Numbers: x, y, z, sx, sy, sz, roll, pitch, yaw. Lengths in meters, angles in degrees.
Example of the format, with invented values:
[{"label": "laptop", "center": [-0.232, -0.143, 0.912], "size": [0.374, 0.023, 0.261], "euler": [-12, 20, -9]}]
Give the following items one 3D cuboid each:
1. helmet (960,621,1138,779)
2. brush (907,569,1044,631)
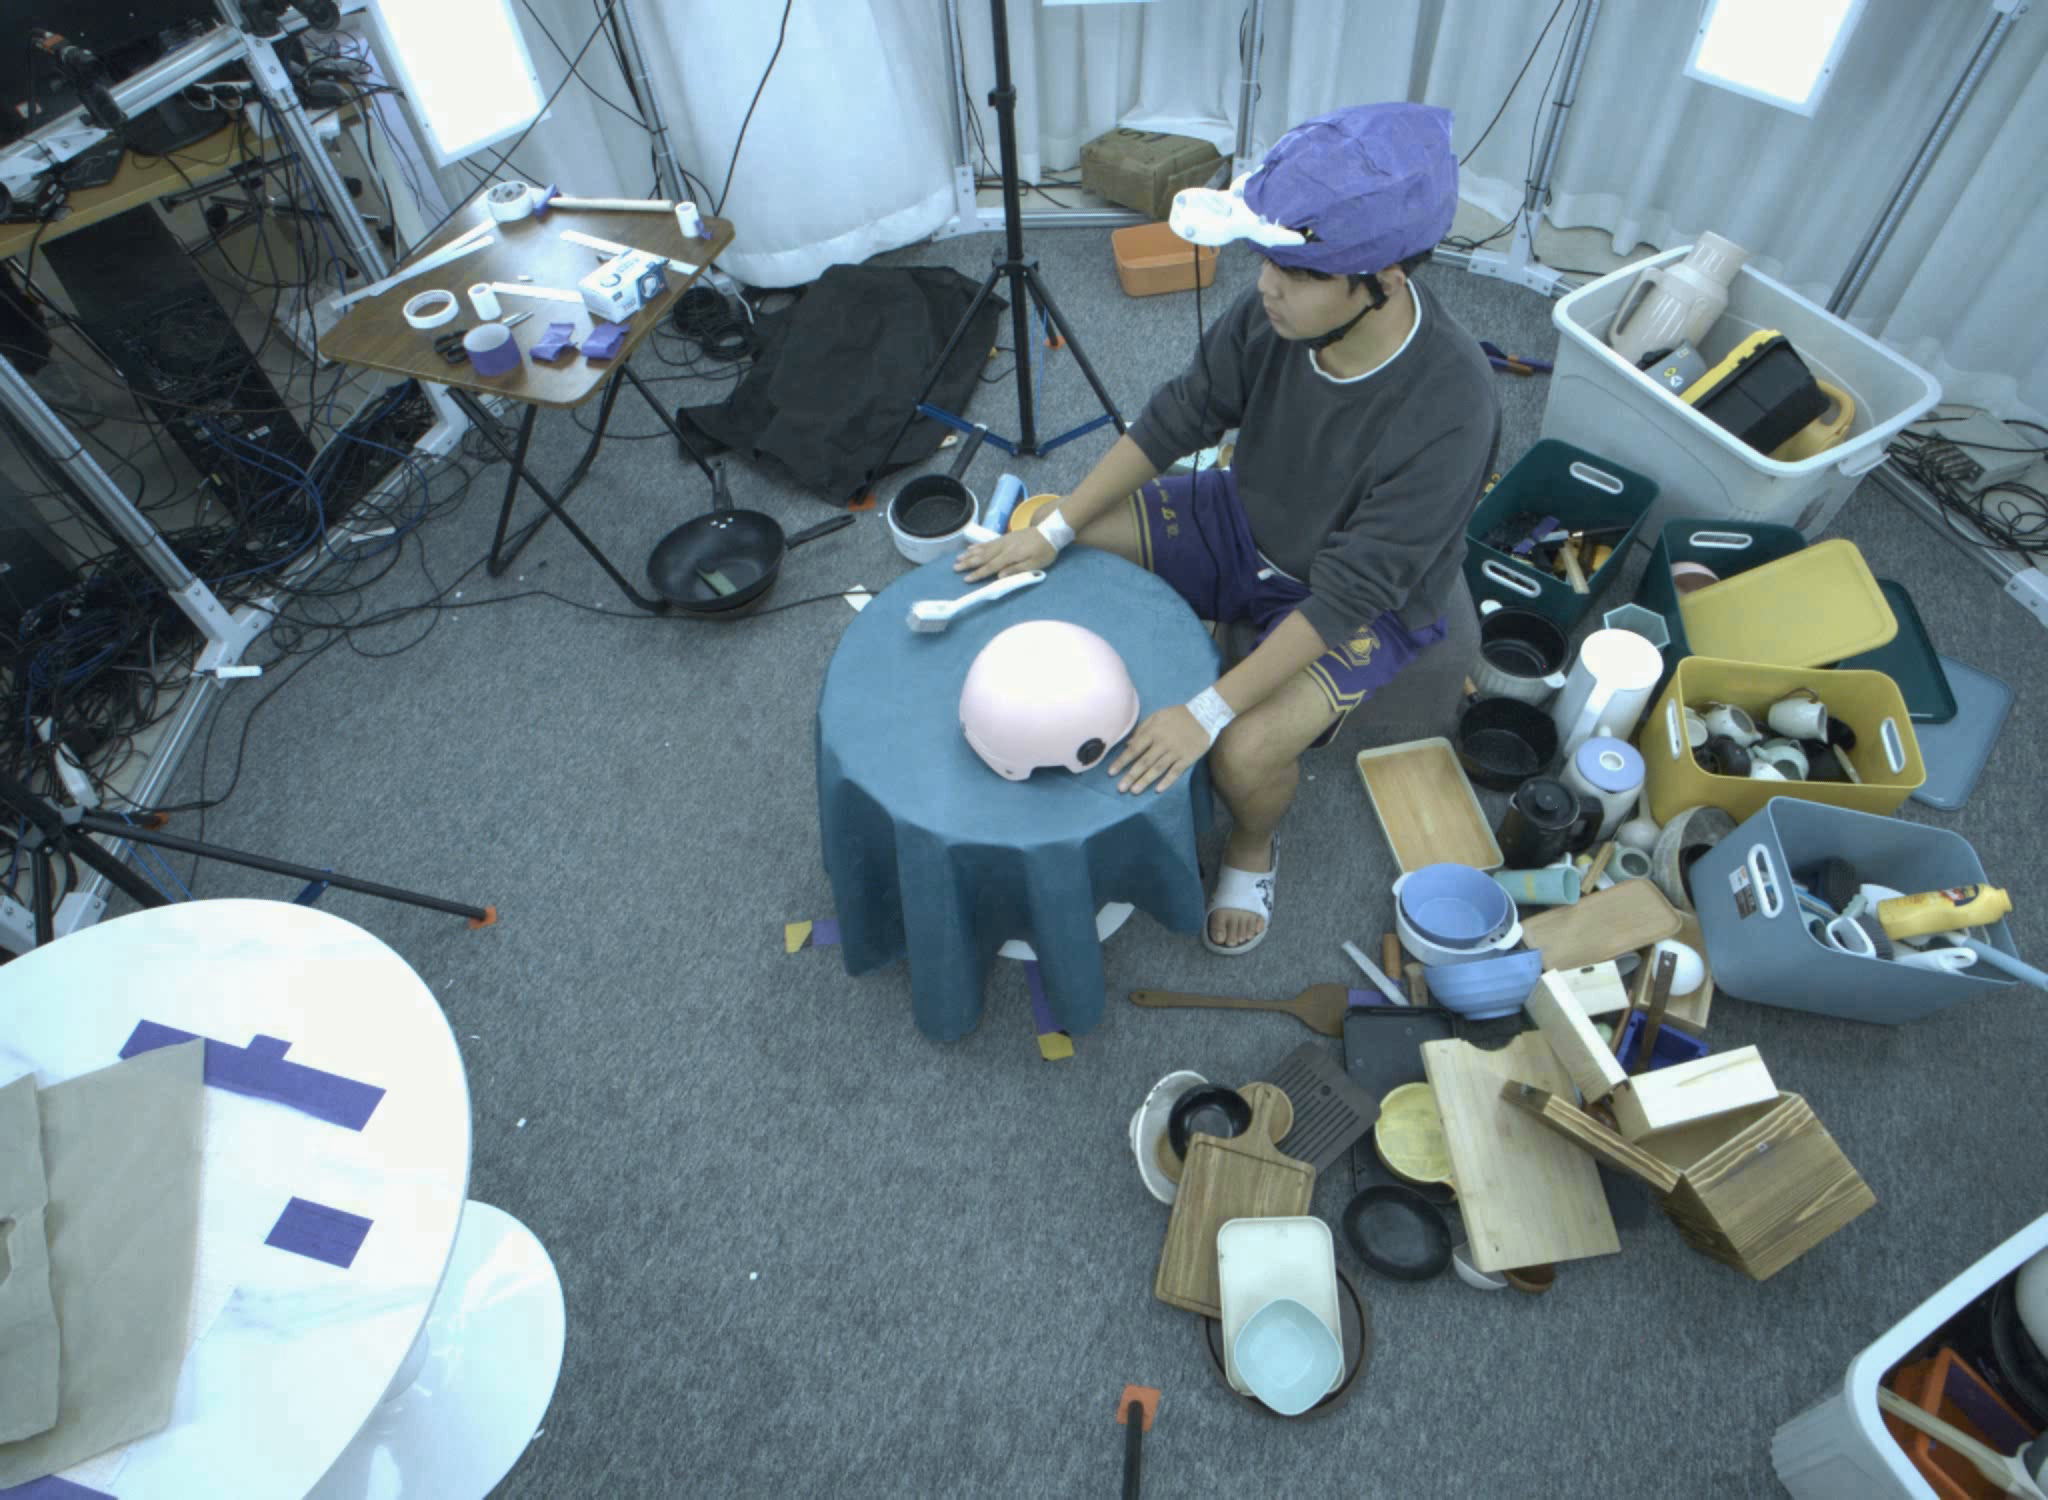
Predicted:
[{"label": "helmet", "center": [0.038, -0.094, 1.763], "size": [0.268, 0.160, 0.230], "euler": [-15, 54, -13]}, {"label": "brush", "center": [-0.074, -0.237, 1.947], "size": [0.247, 0.050, 0.034], "euler": [-20, 51, -29]}]
